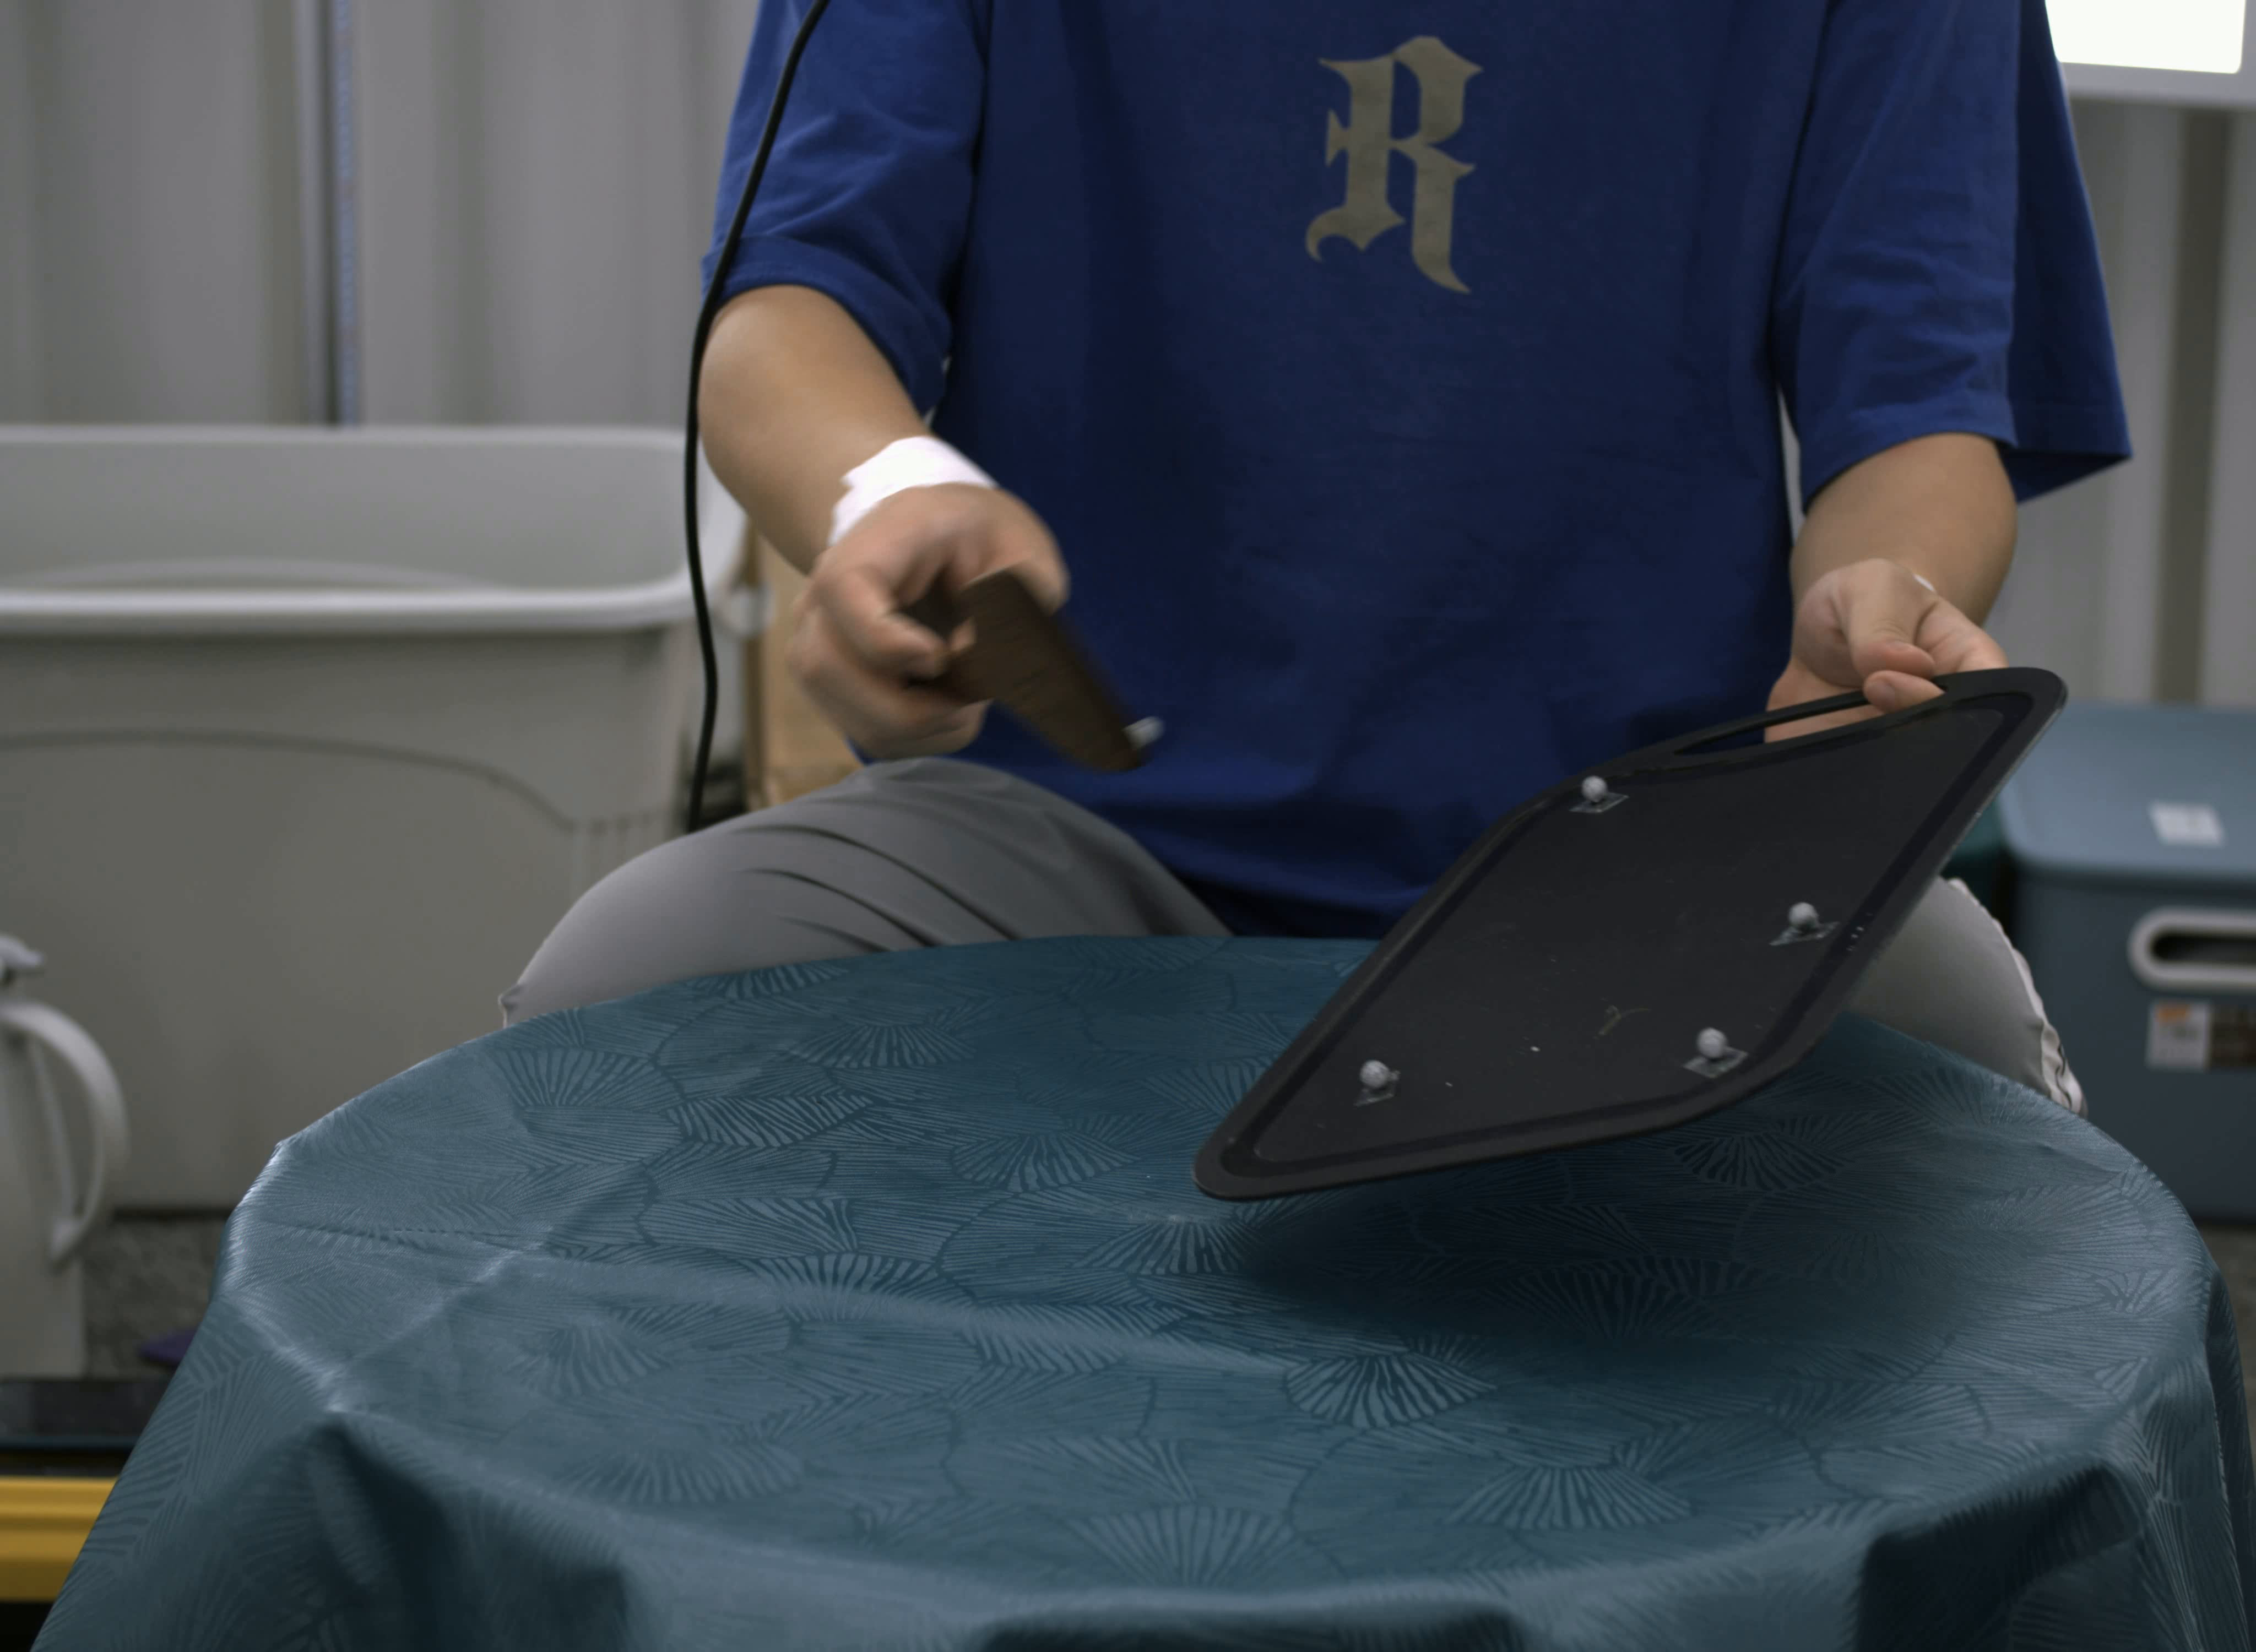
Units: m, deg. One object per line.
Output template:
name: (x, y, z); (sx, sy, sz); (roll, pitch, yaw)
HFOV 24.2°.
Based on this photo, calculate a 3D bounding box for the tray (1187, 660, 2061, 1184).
tray: (0.157, 0.022, 1.609); (0.209, 0.010, 0.325); (-12, 19, 34)

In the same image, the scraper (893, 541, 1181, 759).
scraper: (-0.038, -0.052, 1.641); (0.011, 0.076, 0.210); (-37, 12, -15)
